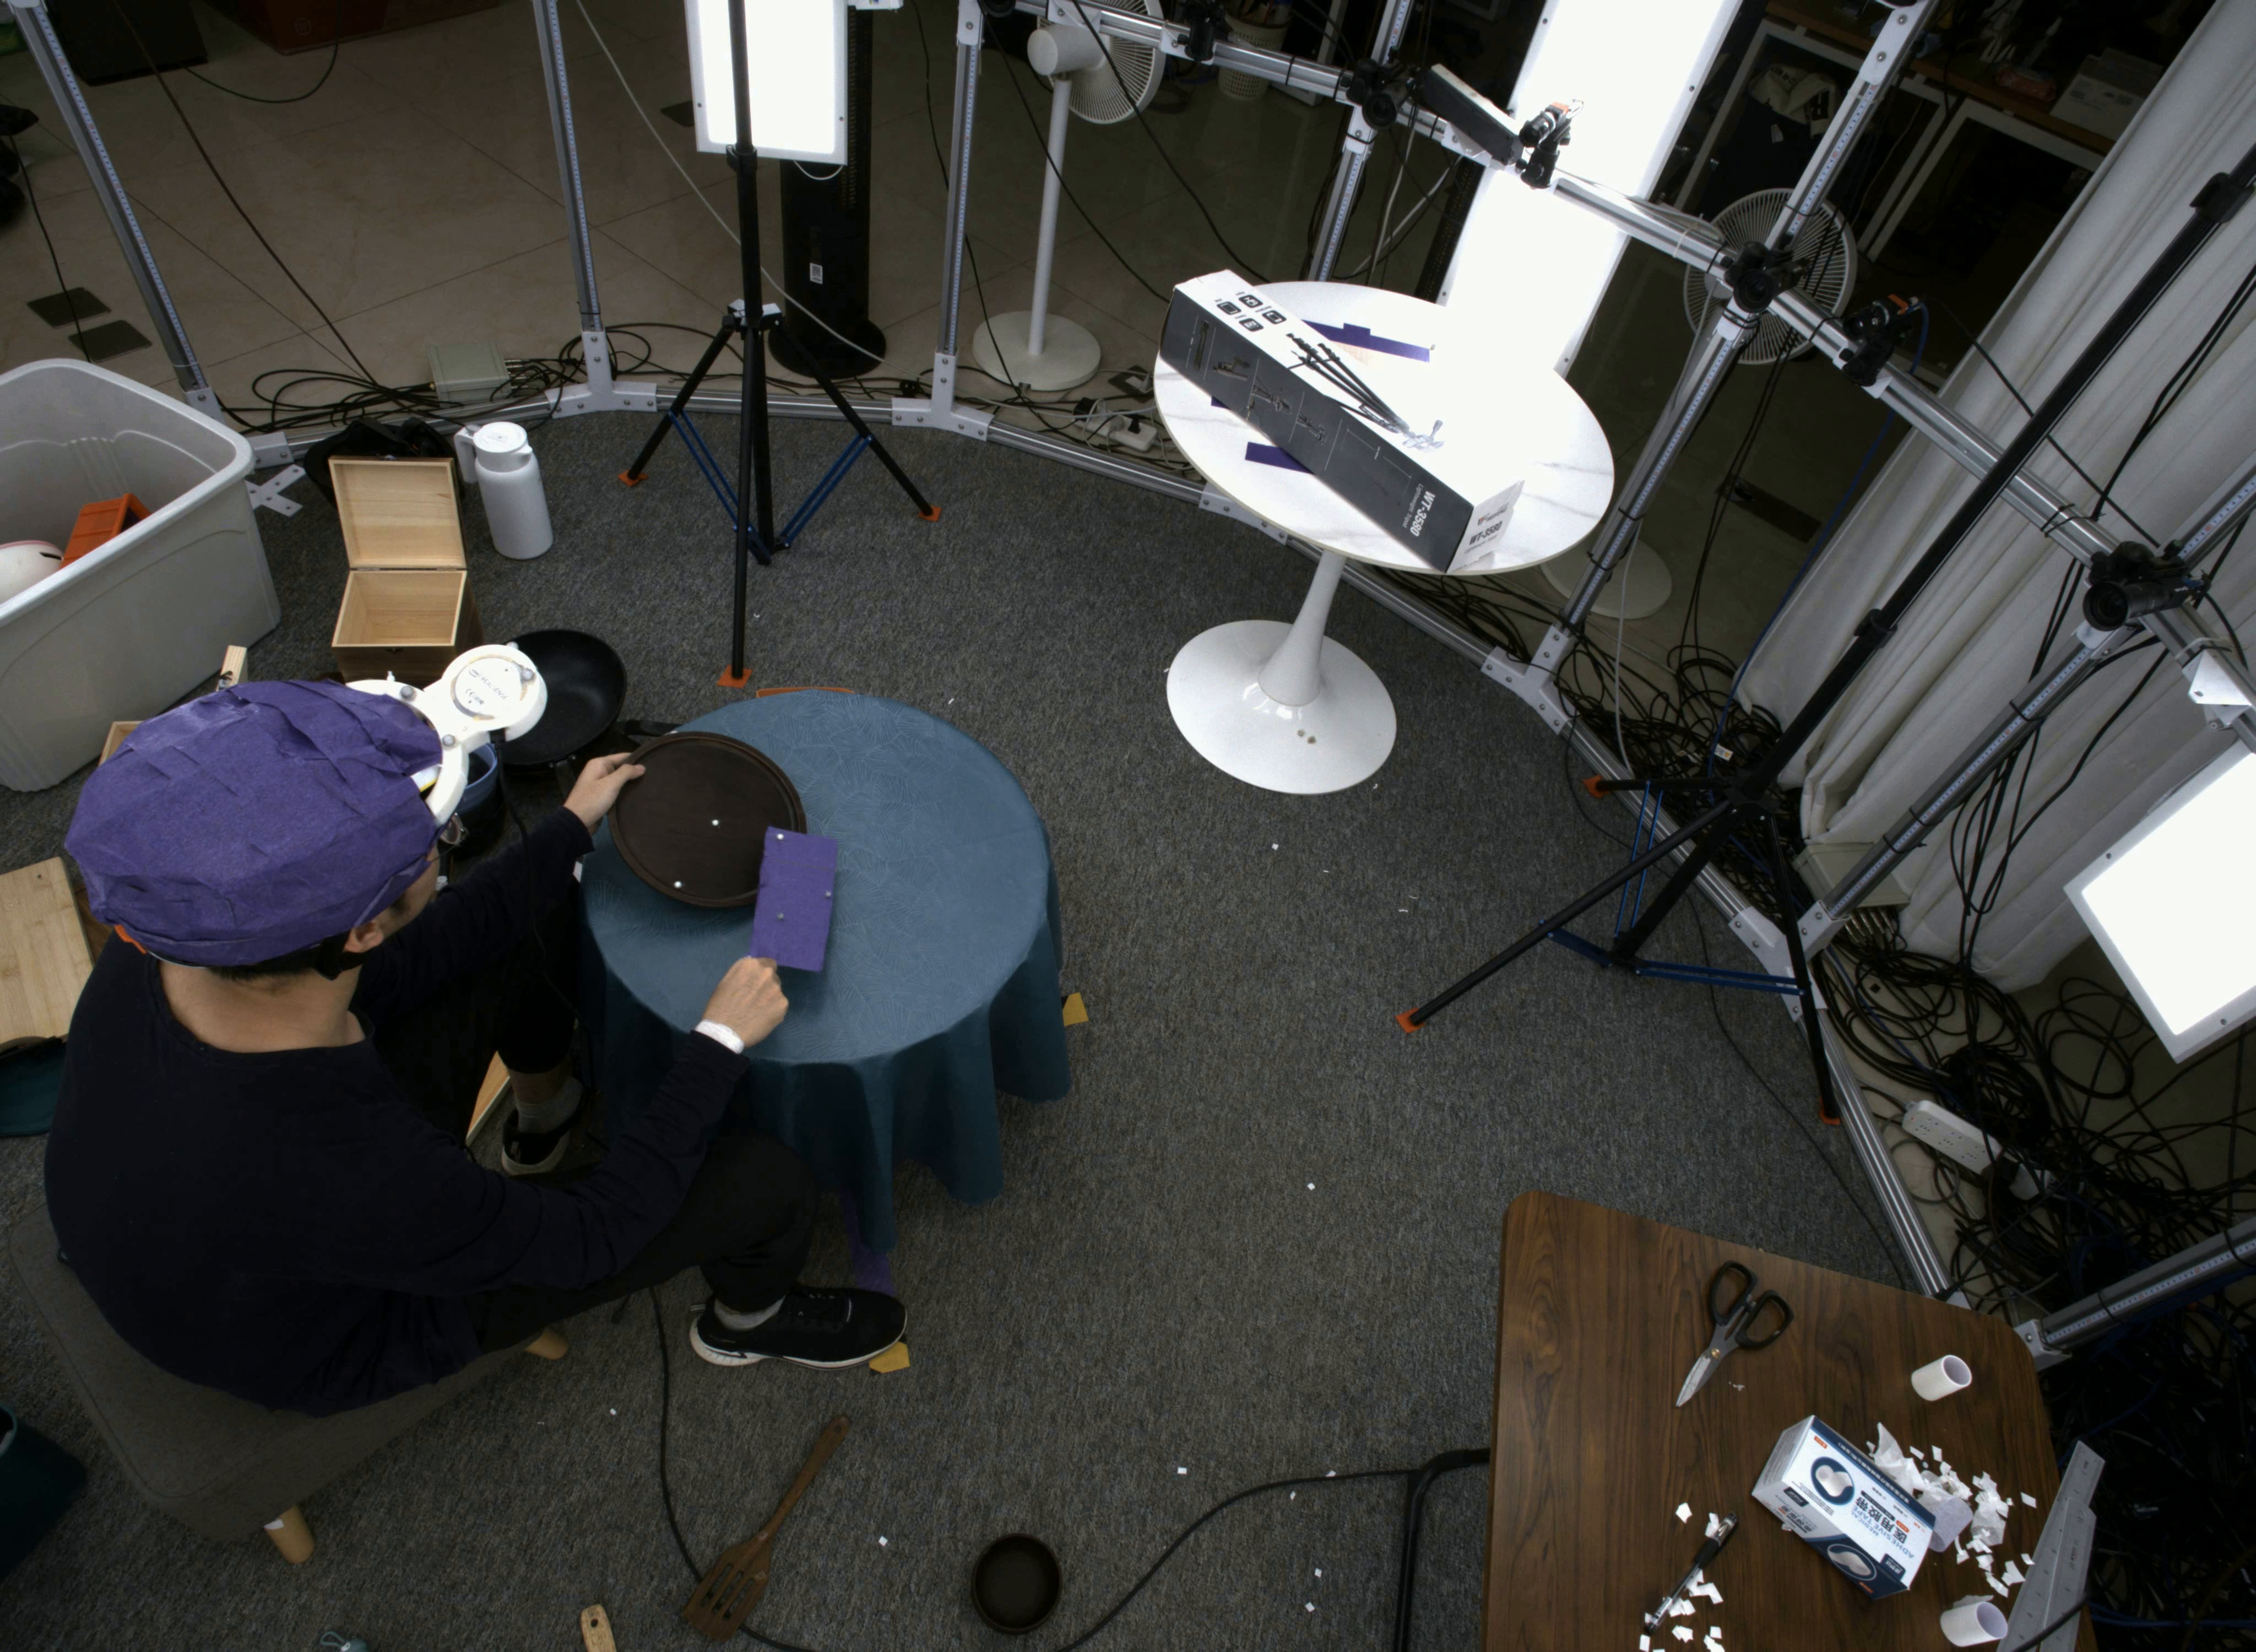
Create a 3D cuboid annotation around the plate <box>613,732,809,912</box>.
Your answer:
[{"bbox_3d":[-0.533,-0.008,1.649,0.260,0.029,0.251,19,55,-26],"label":"plate"}]

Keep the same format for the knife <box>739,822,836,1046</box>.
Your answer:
[{"bbox_3d":[-0.409,0.120,1.564,0.105,0.032,0.309,9,52,-18],"label":"knife"}]
